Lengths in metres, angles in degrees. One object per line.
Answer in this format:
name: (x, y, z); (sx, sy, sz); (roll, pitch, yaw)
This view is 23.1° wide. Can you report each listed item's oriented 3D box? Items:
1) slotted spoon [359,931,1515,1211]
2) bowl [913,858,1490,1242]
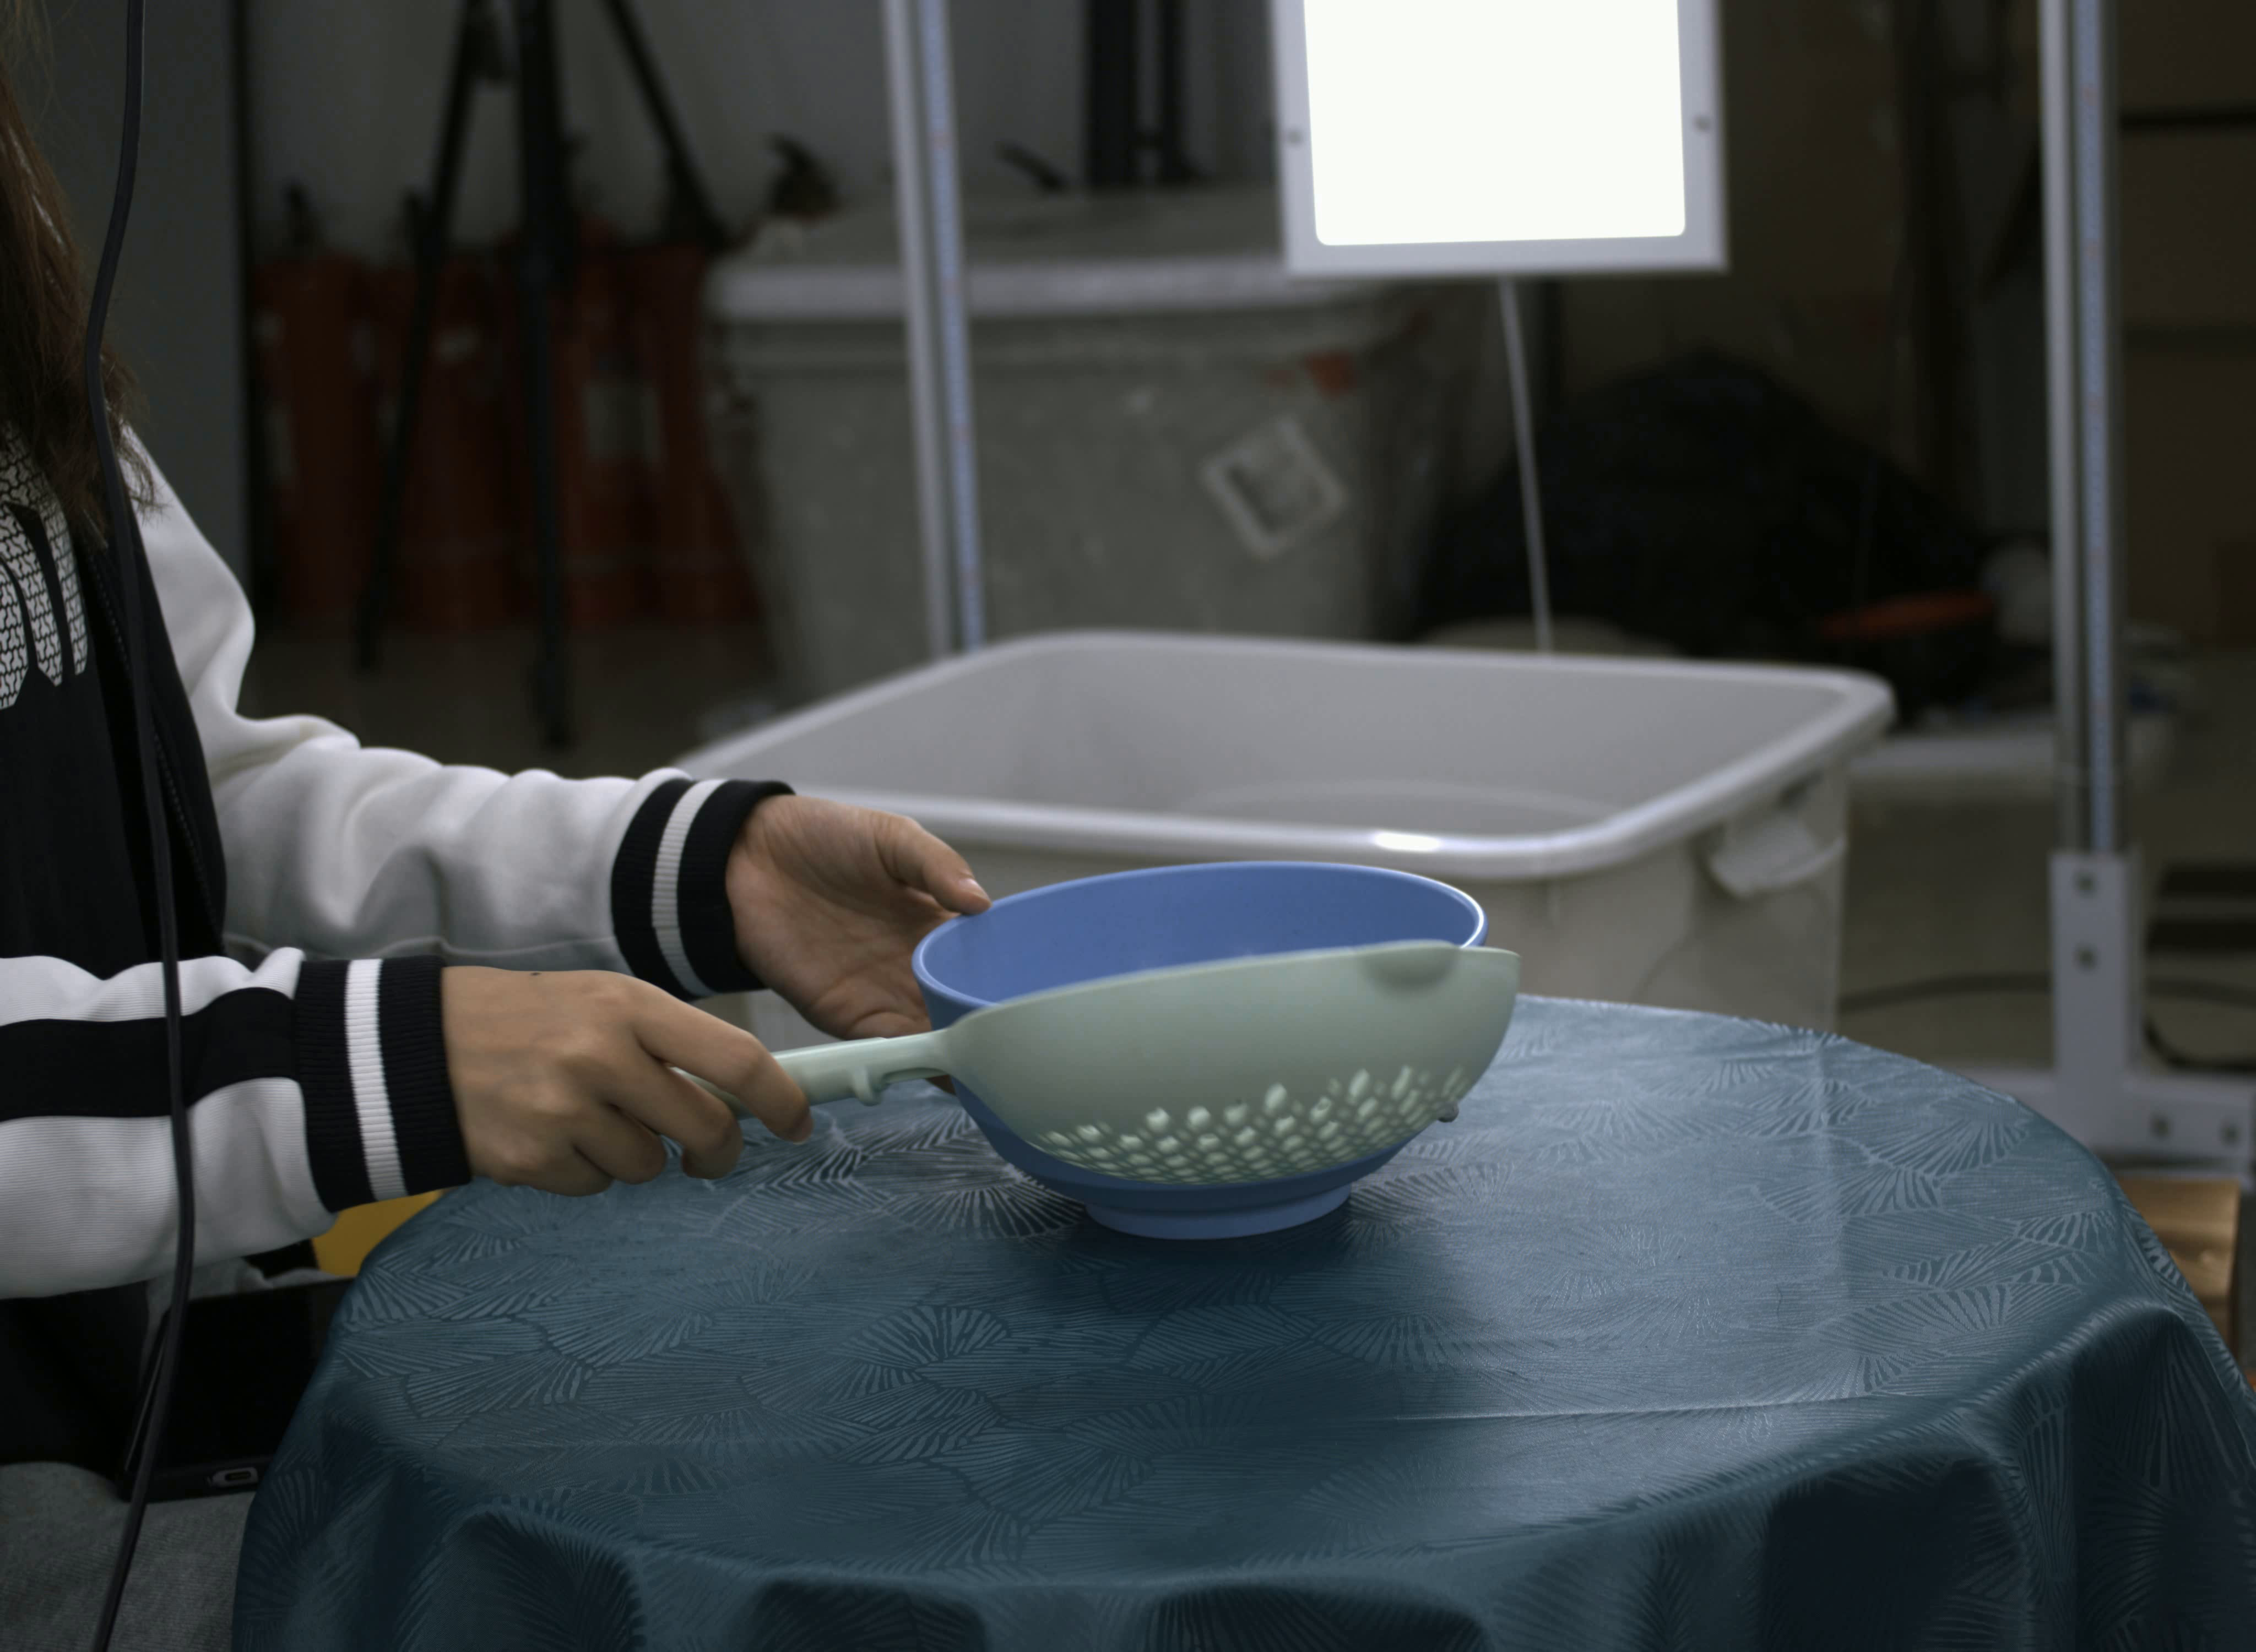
slotted spoon: (-0.062, 0.077, 1.660); (0.362, 0.075, 0.167); (-1, -9, 14)
bowl: (0.028, 0.082, 1.871); (0.196, 0.096, 0.196); (-5, 14, 0)
